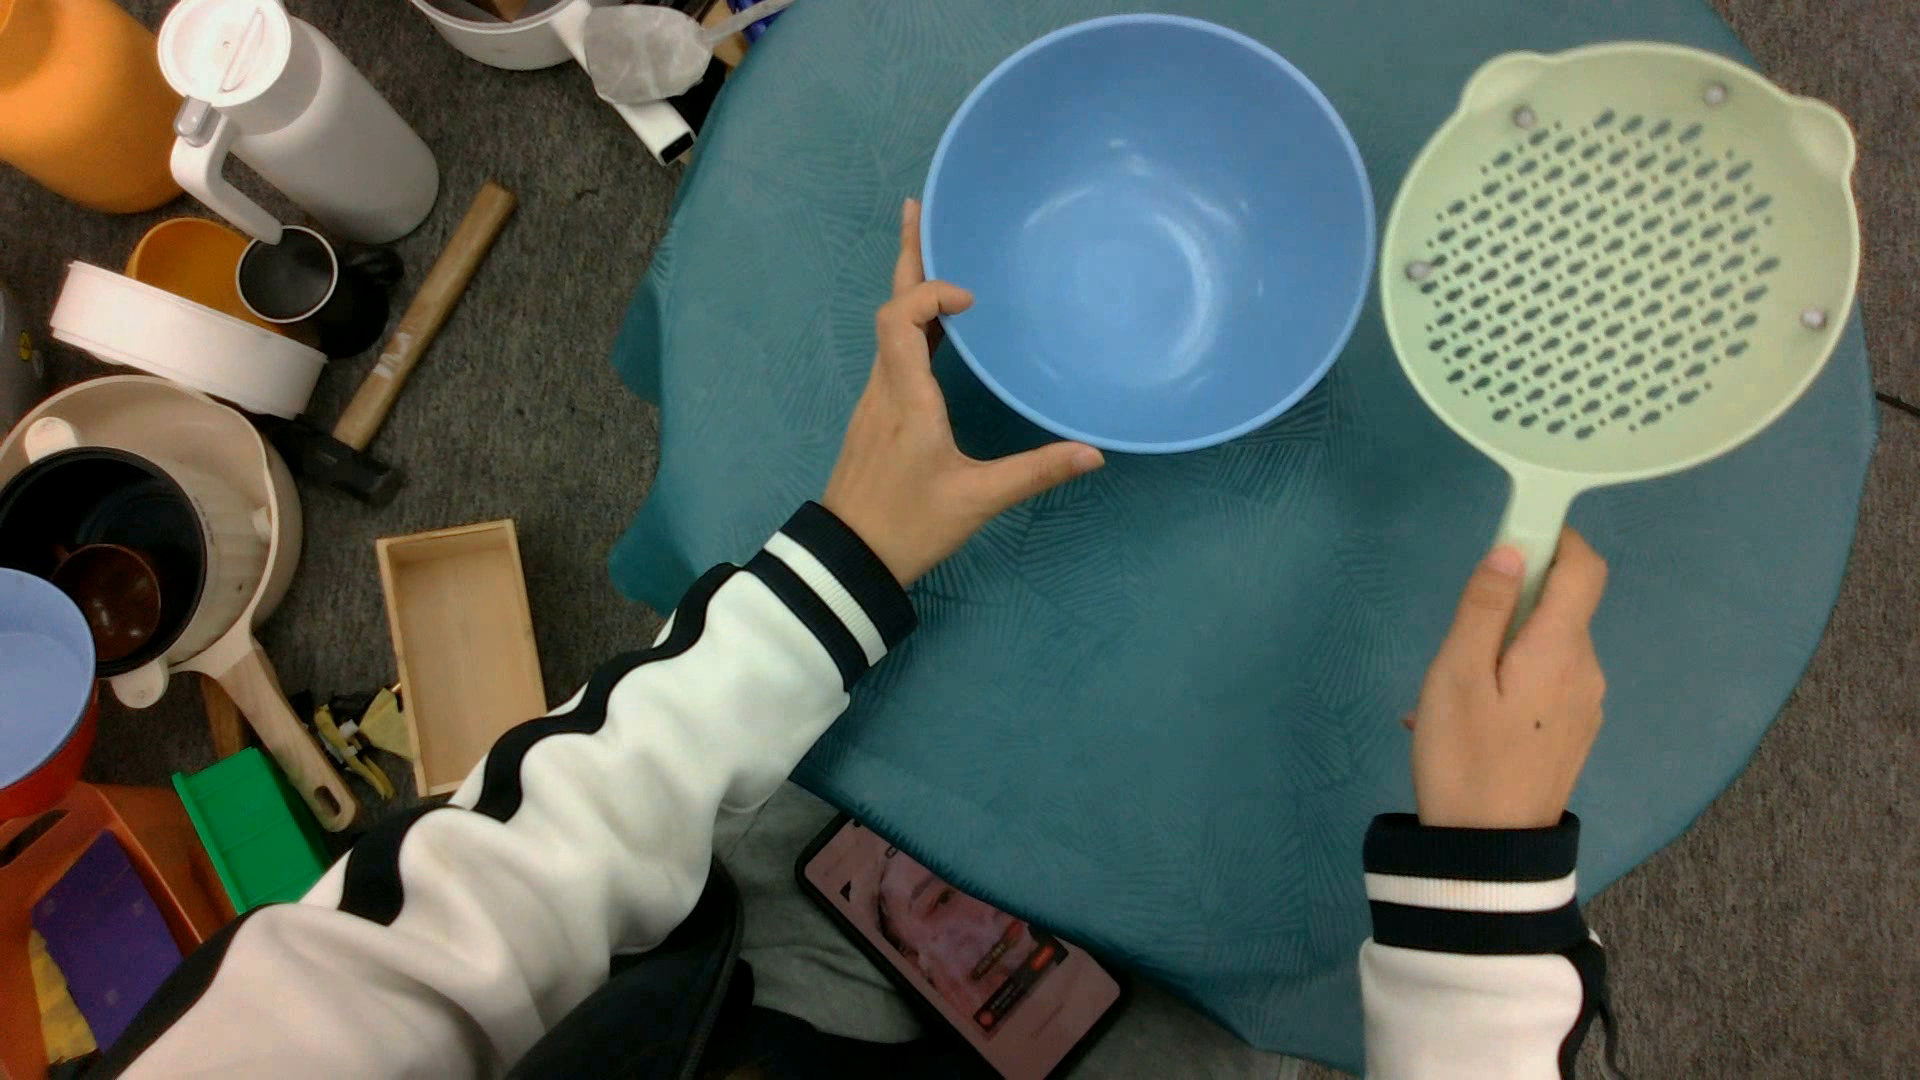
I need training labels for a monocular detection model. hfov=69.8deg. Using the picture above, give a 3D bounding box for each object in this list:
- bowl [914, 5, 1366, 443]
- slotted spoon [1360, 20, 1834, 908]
[{"bbox_3d":[0.077,-0.133,0.639,0.196,0.095,0.196,0,82,-1],"label":"bowl"},{"bbox_3d":[0.223,-0.020,0.552,0.169,0.075,0.359,15,88,14],"label":"slotted spoon"}]
